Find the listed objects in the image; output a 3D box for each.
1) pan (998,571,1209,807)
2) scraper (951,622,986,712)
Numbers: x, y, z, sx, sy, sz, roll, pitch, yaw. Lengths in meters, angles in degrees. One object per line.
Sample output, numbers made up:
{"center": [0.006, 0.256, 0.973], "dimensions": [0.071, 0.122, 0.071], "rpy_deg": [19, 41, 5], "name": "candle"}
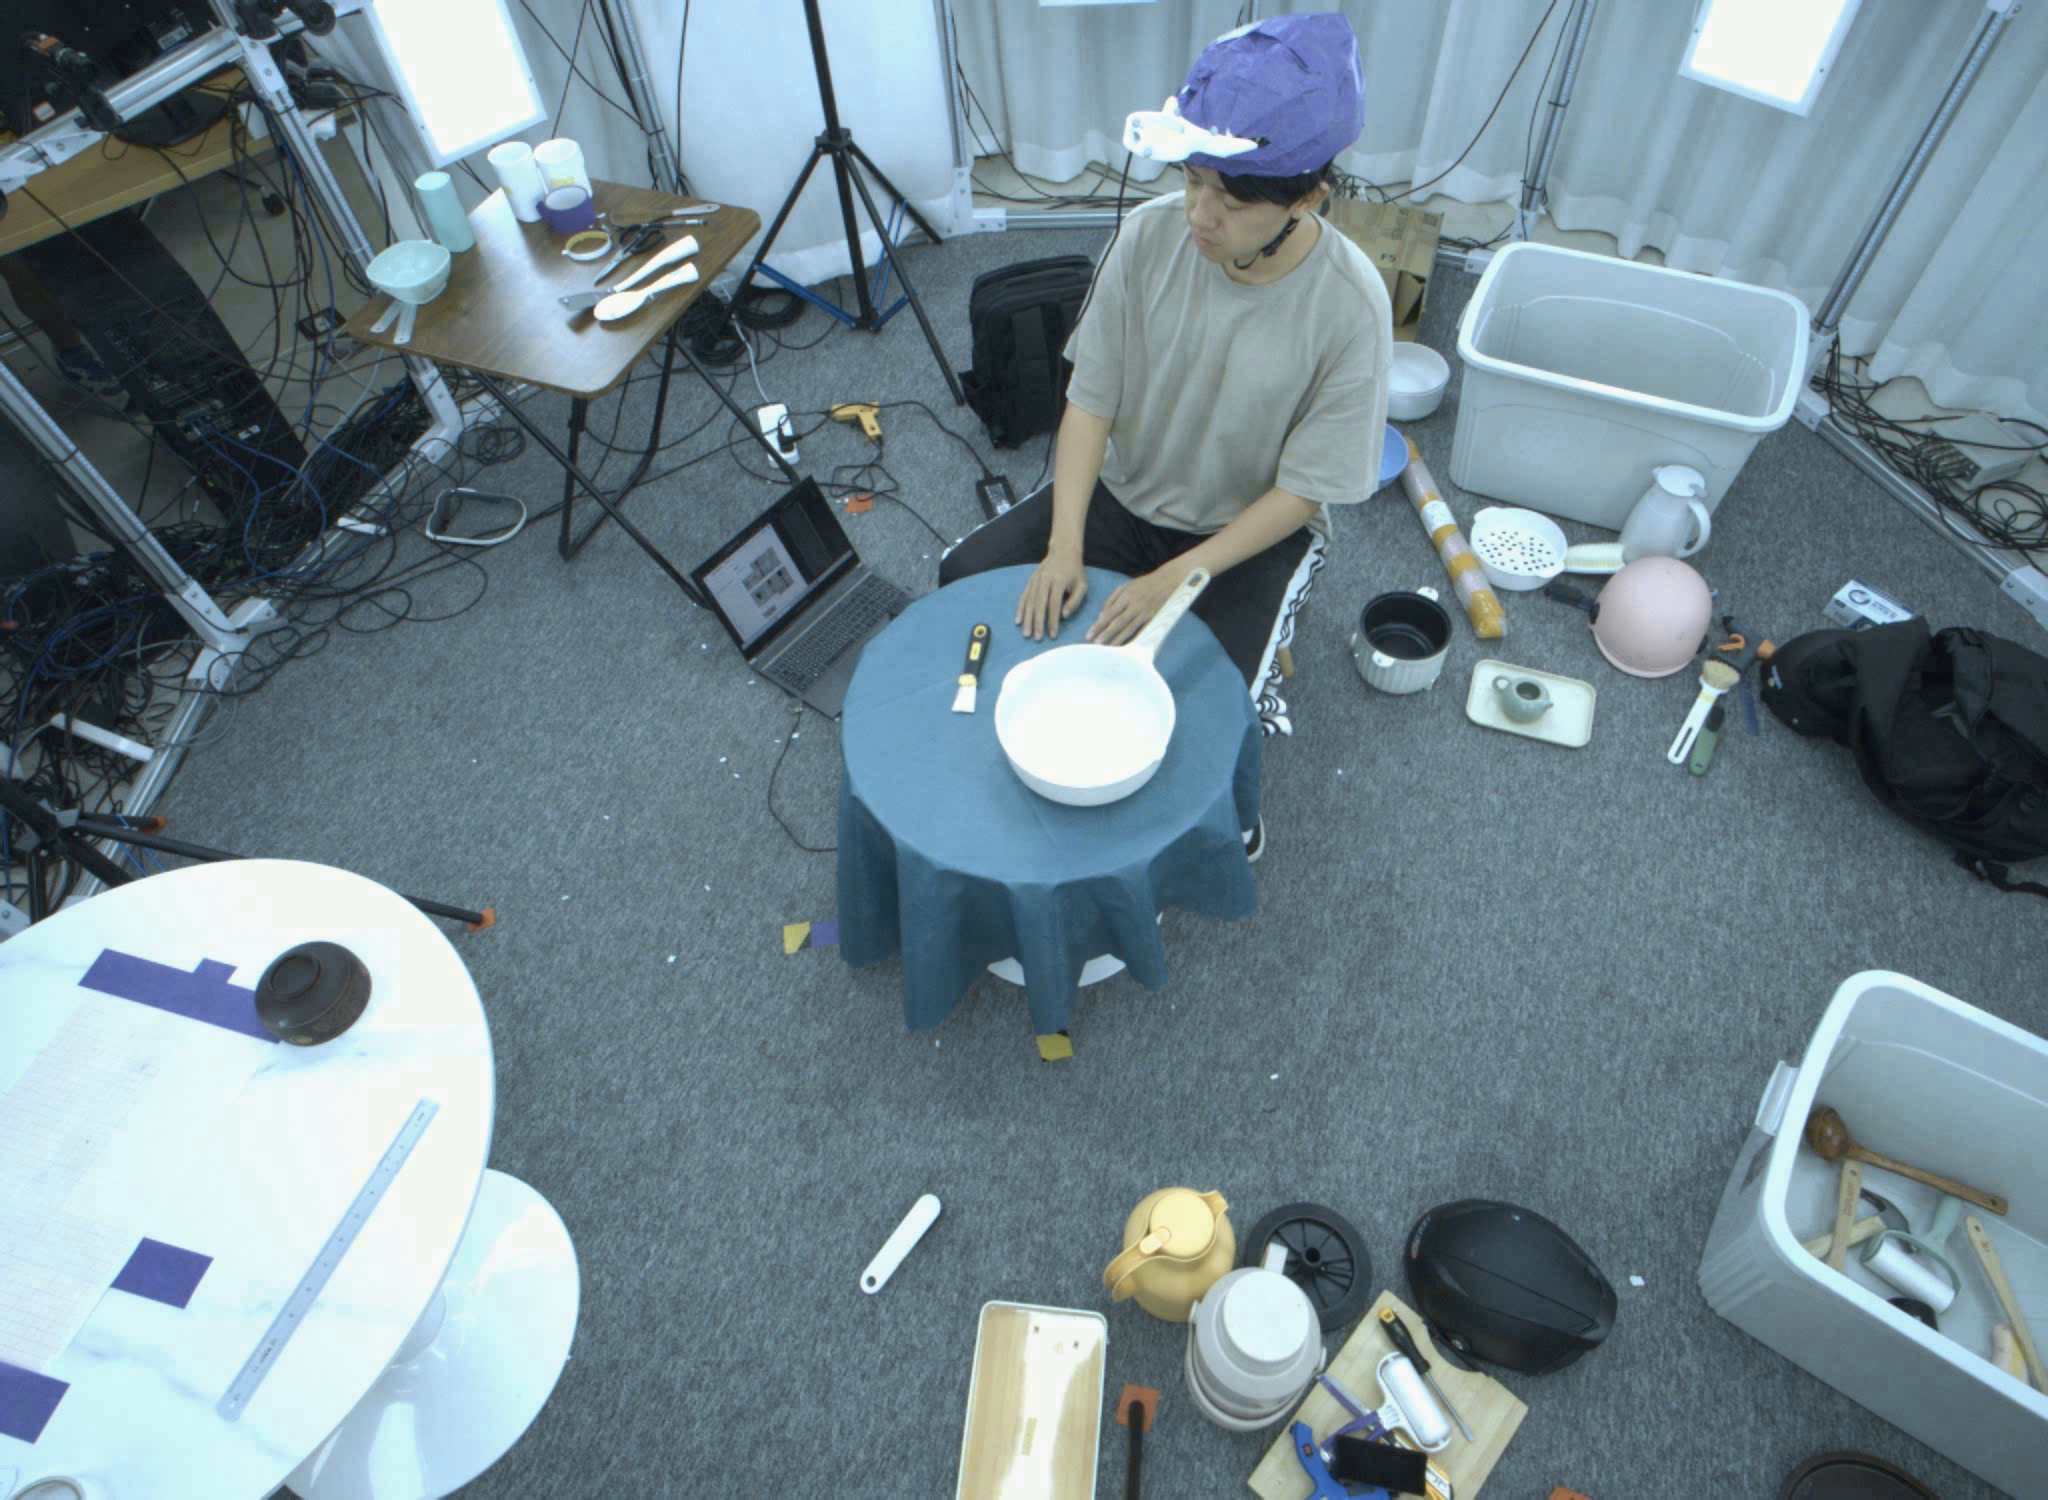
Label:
{"center": [0.146, -0.092, 1.787], "dimensions": [0.259, 0.103, 0.437], "rpy_deg": [29, 61, 24], "name": "pan"}
{"center": [-0.082, -0.127, 1.869], "dimensions": [0.038, 0.015, 0.169], "rpy_deg": [1, 57, 9], "name": "scraper"}
